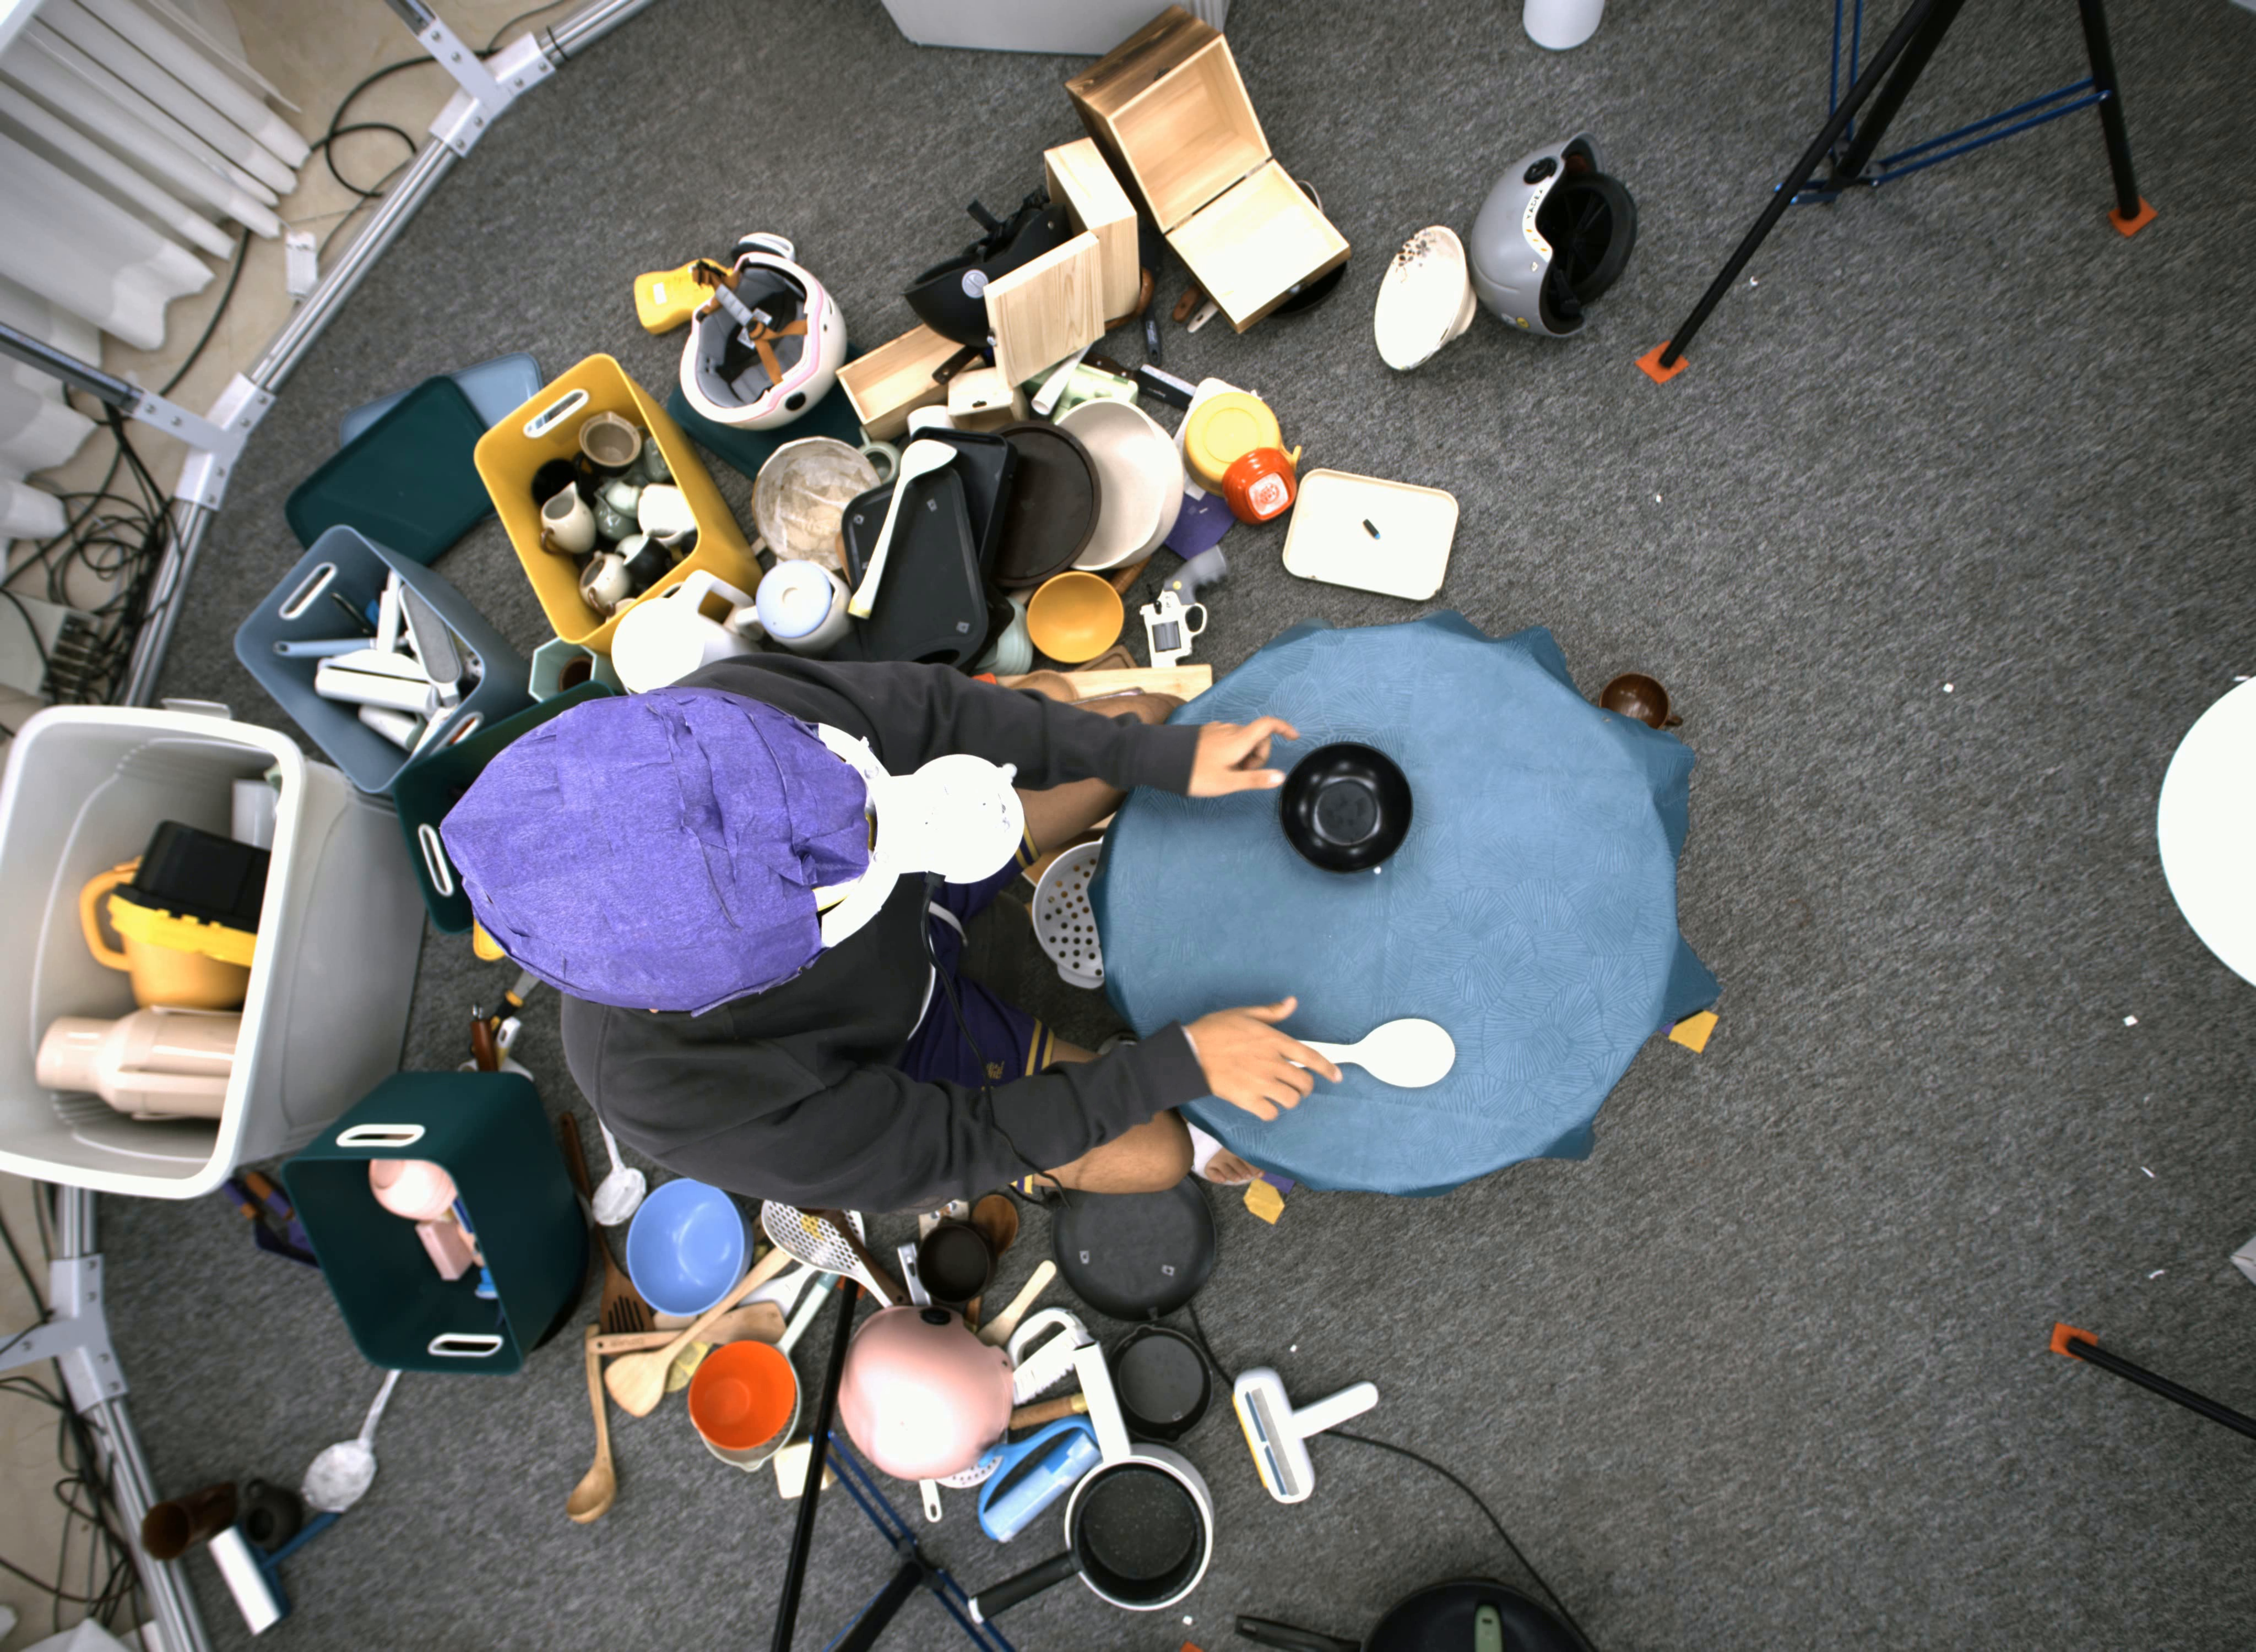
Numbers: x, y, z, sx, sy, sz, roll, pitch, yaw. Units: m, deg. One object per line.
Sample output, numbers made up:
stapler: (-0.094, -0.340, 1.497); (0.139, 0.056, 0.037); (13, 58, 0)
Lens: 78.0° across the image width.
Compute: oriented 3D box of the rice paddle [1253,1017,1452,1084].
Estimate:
rice paddle: (0.234, 0.234, 1.442); (0.206, 0.029, 0.068); (-3, 85, 11)

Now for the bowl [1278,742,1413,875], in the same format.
bowl: (0.228, -0.018, 1.448); (0.140, 0.050, 0.139); (-1, 87, 11)
